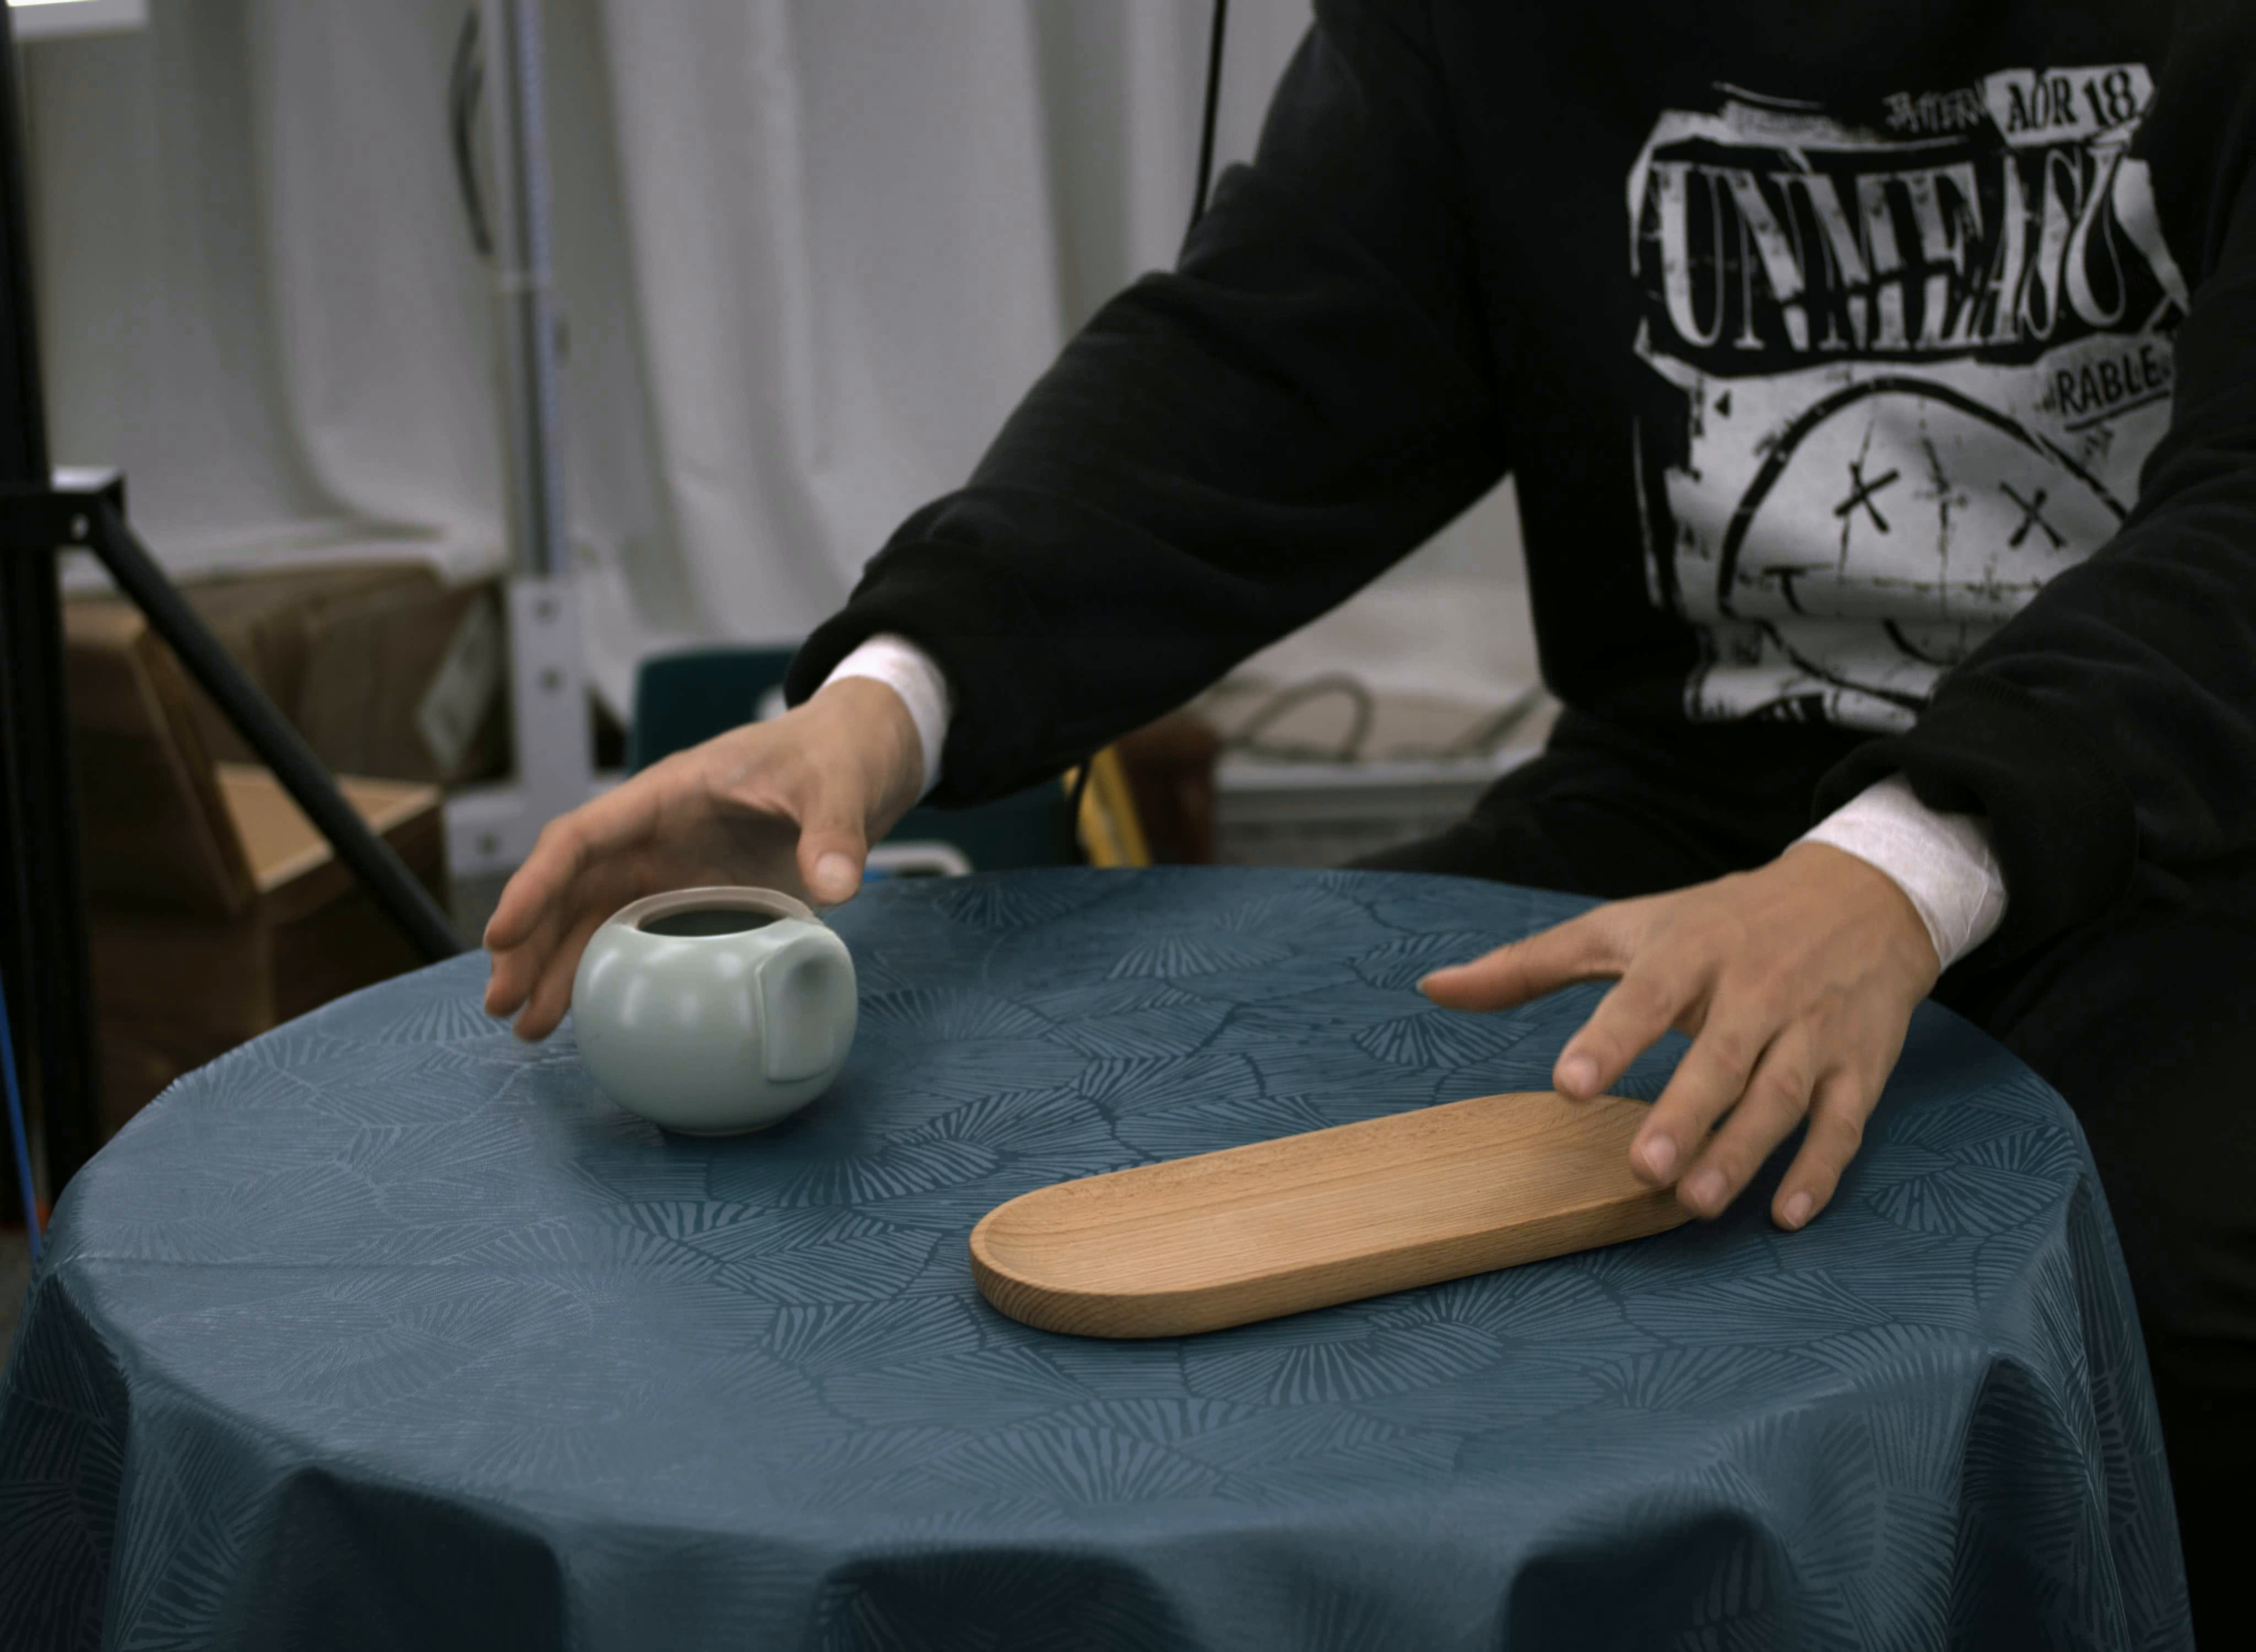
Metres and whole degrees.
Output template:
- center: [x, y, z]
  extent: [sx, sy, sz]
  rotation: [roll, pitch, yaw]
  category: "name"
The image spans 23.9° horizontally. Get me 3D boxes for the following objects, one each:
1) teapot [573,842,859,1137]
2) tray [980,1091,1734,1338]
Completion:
- center: [-0.126, 0.054, 1.633]
  extent: [0.086, 0.075, 0.147]
  rotation: [-13, 20, -32]
  category: "teapot"
- center: [0.067, 0.110, 1.508]
  extent: [0.226, 0.020, 0.104]
  rotation: [-8, 18, -24]
  category: "tray"
